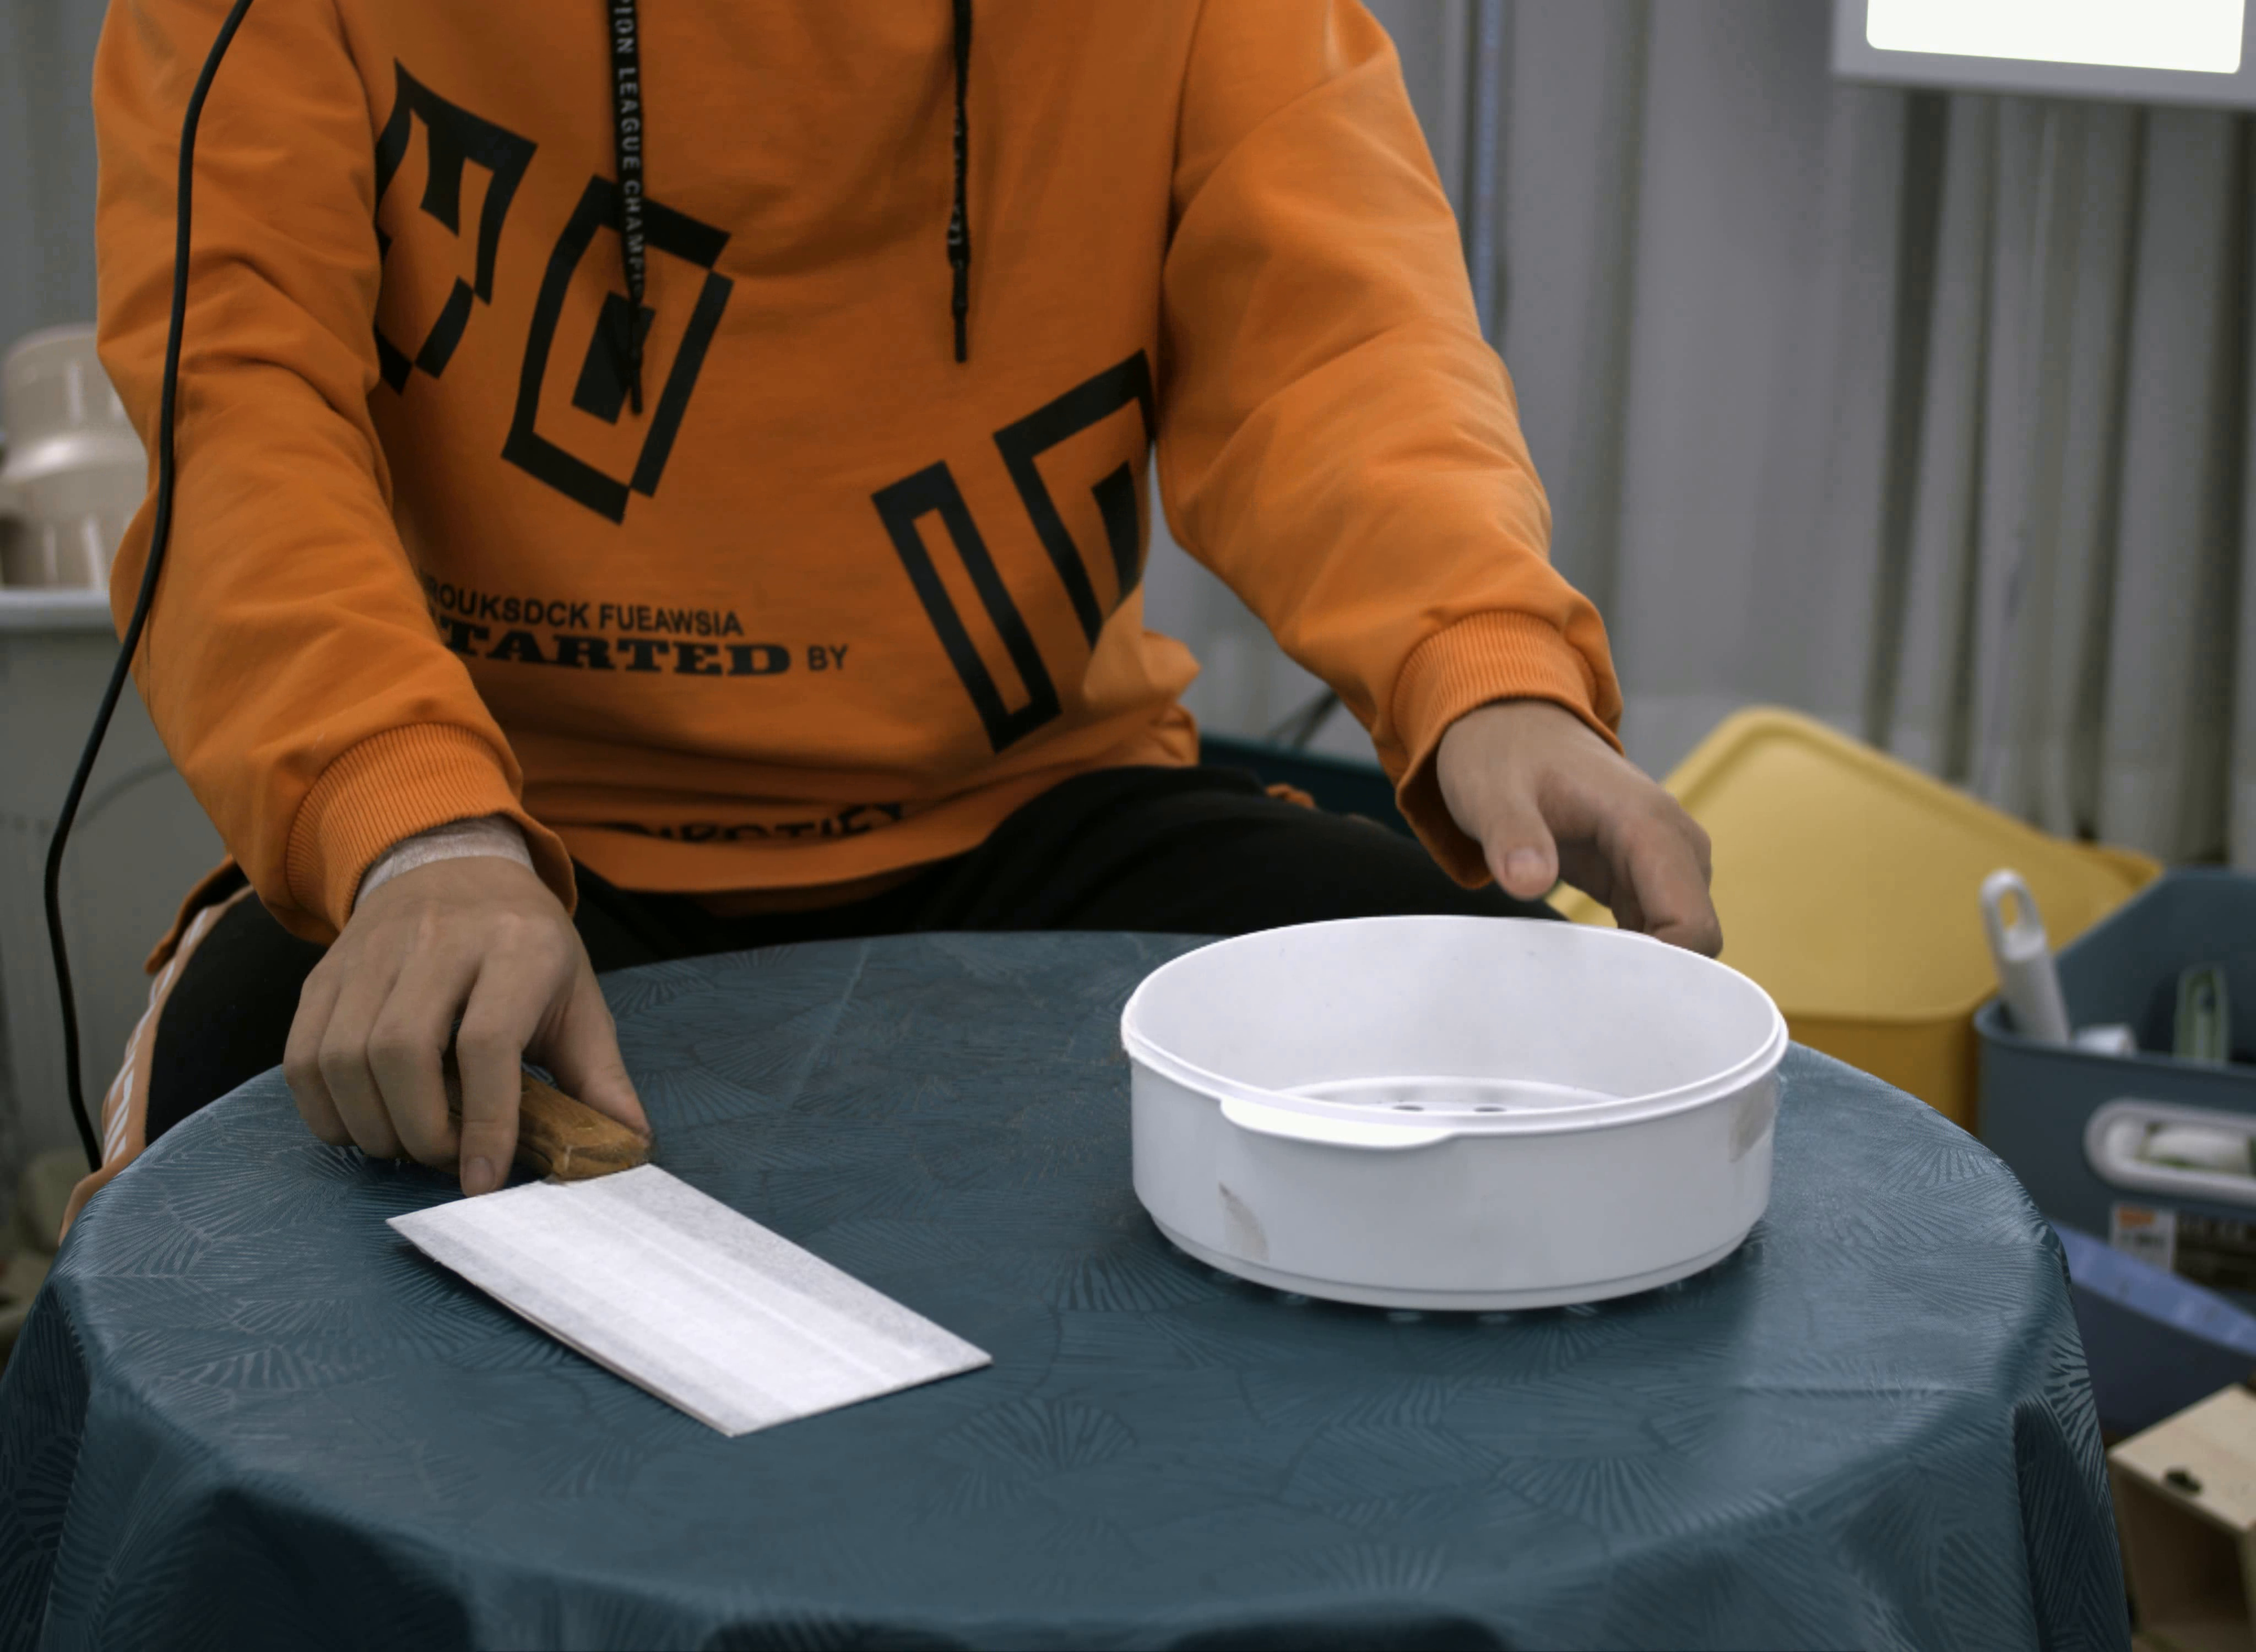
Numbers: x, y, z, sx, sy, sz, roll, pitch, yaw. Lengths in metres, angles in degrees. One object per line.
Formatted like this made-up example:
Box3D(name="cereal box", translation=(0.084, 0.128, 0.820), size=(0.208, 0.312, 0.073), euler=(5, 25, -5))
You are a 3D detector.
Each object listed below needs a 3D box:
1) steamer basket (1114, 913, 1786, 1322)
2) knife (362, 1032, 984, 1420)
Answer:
Box3D(name="steamer basket", translation=(0.097, 0.087, 1.587), size=(0.200, 0.070, 0.231), euler=(6, 19, 23))
Box3D(name="knife", translation=(-0.163, 0.119, 1.566), size=(0.093, 0.021, 0.301), euler=(-13, 23, -35))
